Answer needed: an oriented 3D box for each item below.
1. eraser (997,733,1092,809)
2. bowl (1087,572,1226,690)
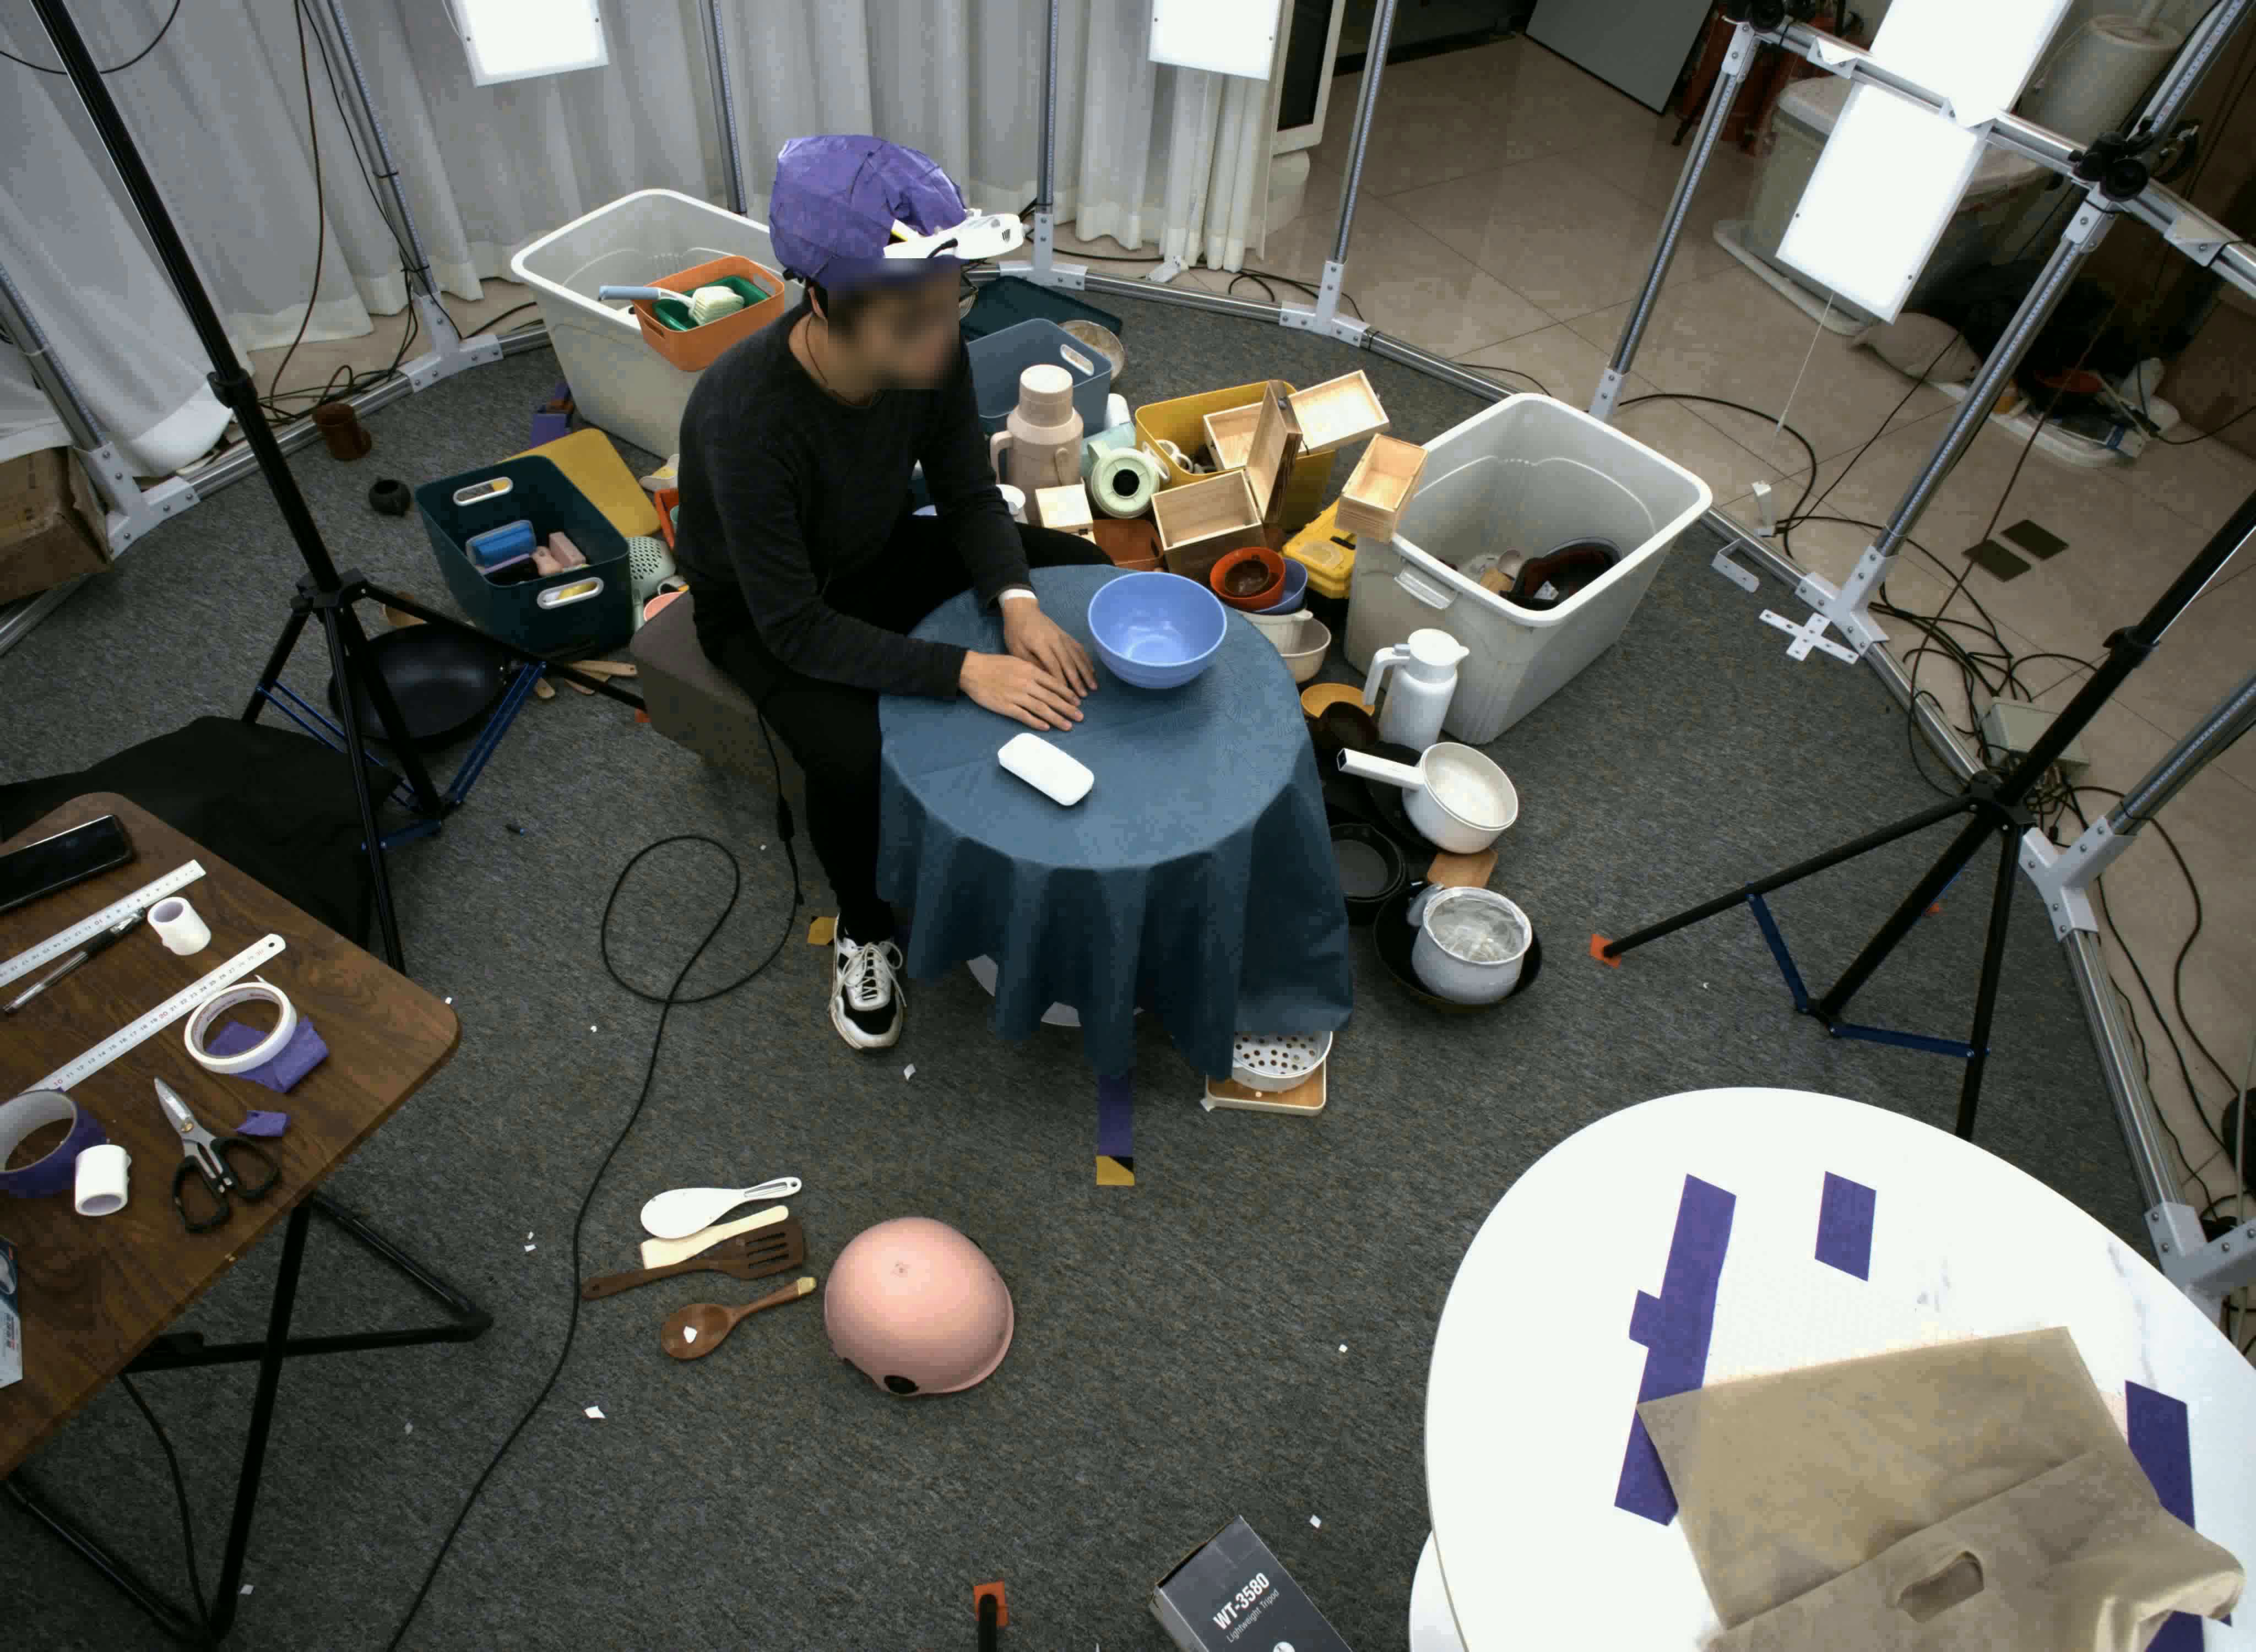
[{"bbox_3d":[-0.111,-0.076,1.709,0.133,0.034,0.064,34,54,22],"label":"eraser"},{"bbox_3d":[0.038,-0.263,1.842,0.196,0.093,0.201,1,50,-2],"label":"bowl"}]
